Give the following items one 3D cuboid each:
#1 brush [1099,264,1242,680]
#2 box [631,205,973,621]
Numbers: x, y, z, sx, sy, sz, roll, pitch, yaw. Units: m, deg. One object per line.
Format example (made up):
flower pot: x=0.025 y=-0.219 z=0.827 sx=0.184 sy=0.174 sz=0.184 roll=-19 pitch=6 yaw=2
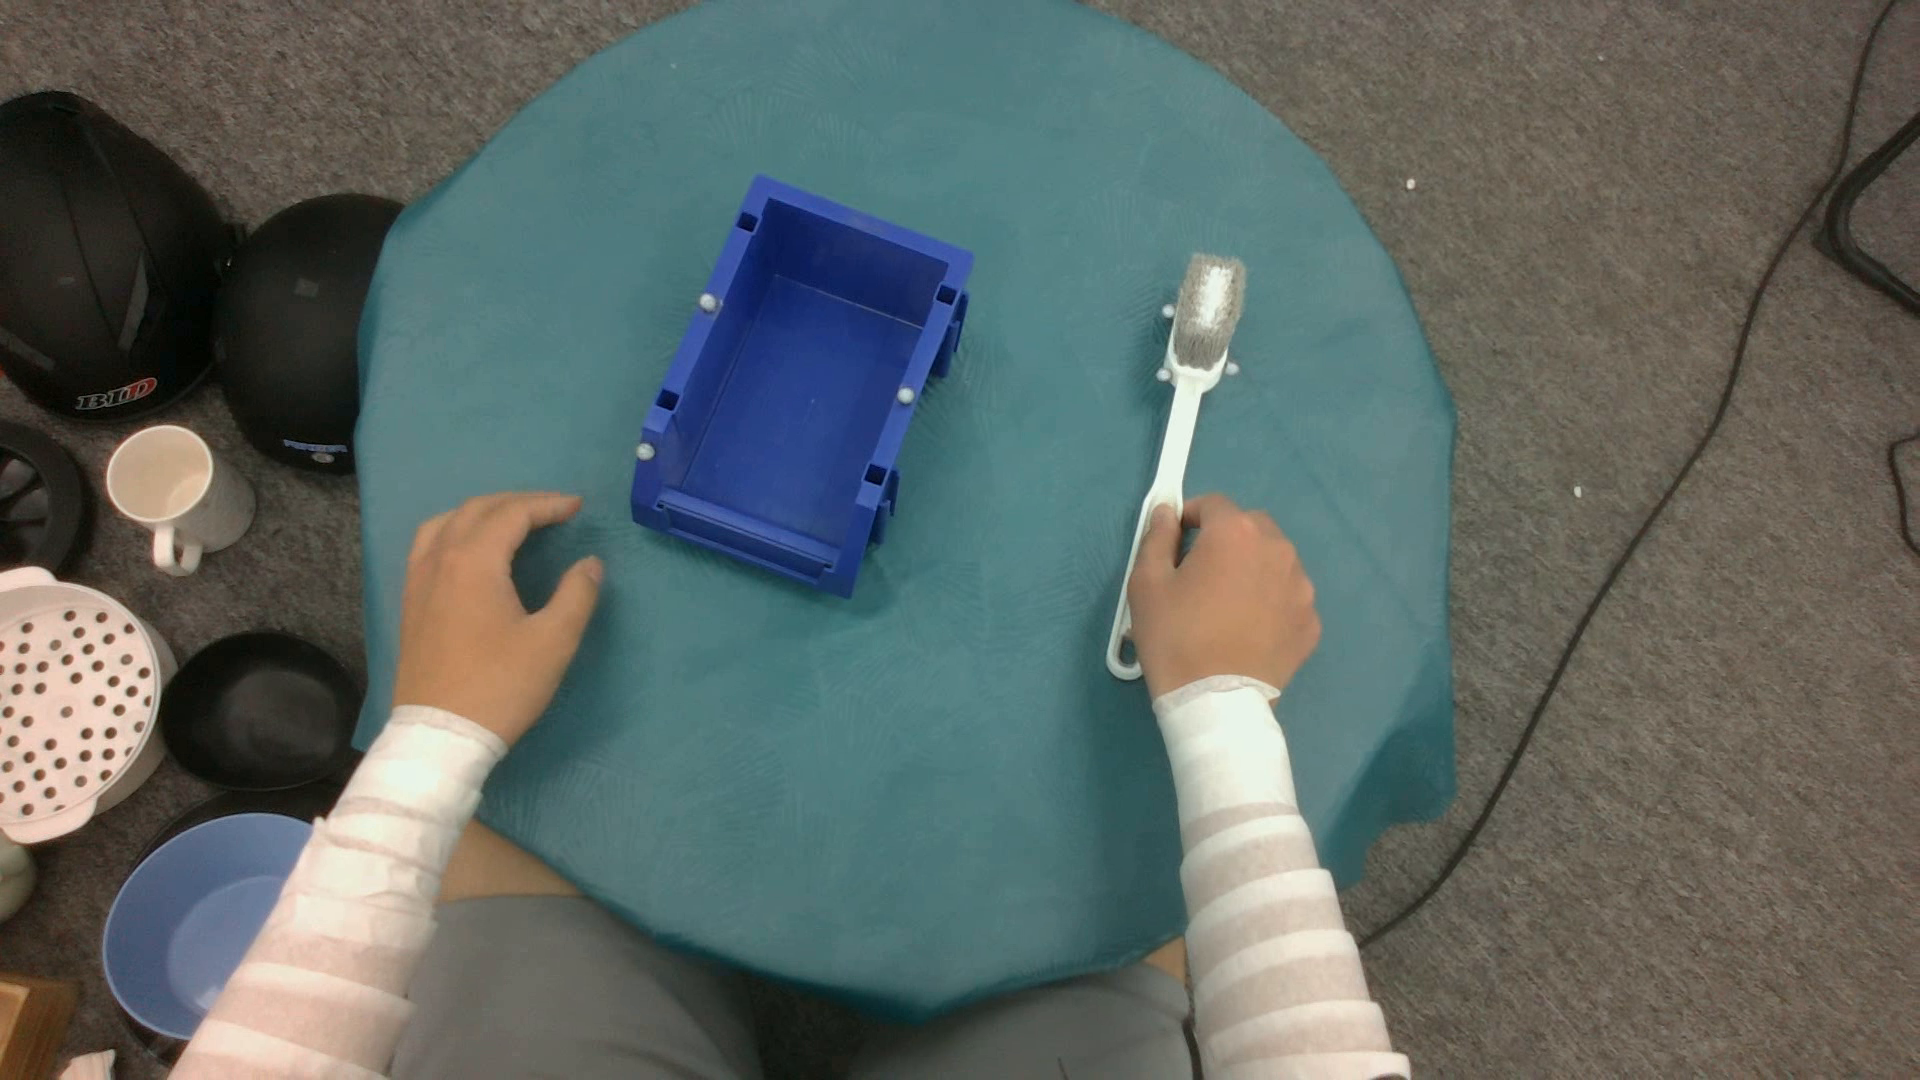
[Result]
brush: x=0.116 y=-0.043 z=0.755 sx=0.034 sy=0.050 sz=0.244 roll=15 pitch=71 yaw=5
box: x=-0.081 y=-0.063 z=0.725 sx=0.124 sy=0.081 sz=0.180 roll=21 pitch=70 yaw=1
